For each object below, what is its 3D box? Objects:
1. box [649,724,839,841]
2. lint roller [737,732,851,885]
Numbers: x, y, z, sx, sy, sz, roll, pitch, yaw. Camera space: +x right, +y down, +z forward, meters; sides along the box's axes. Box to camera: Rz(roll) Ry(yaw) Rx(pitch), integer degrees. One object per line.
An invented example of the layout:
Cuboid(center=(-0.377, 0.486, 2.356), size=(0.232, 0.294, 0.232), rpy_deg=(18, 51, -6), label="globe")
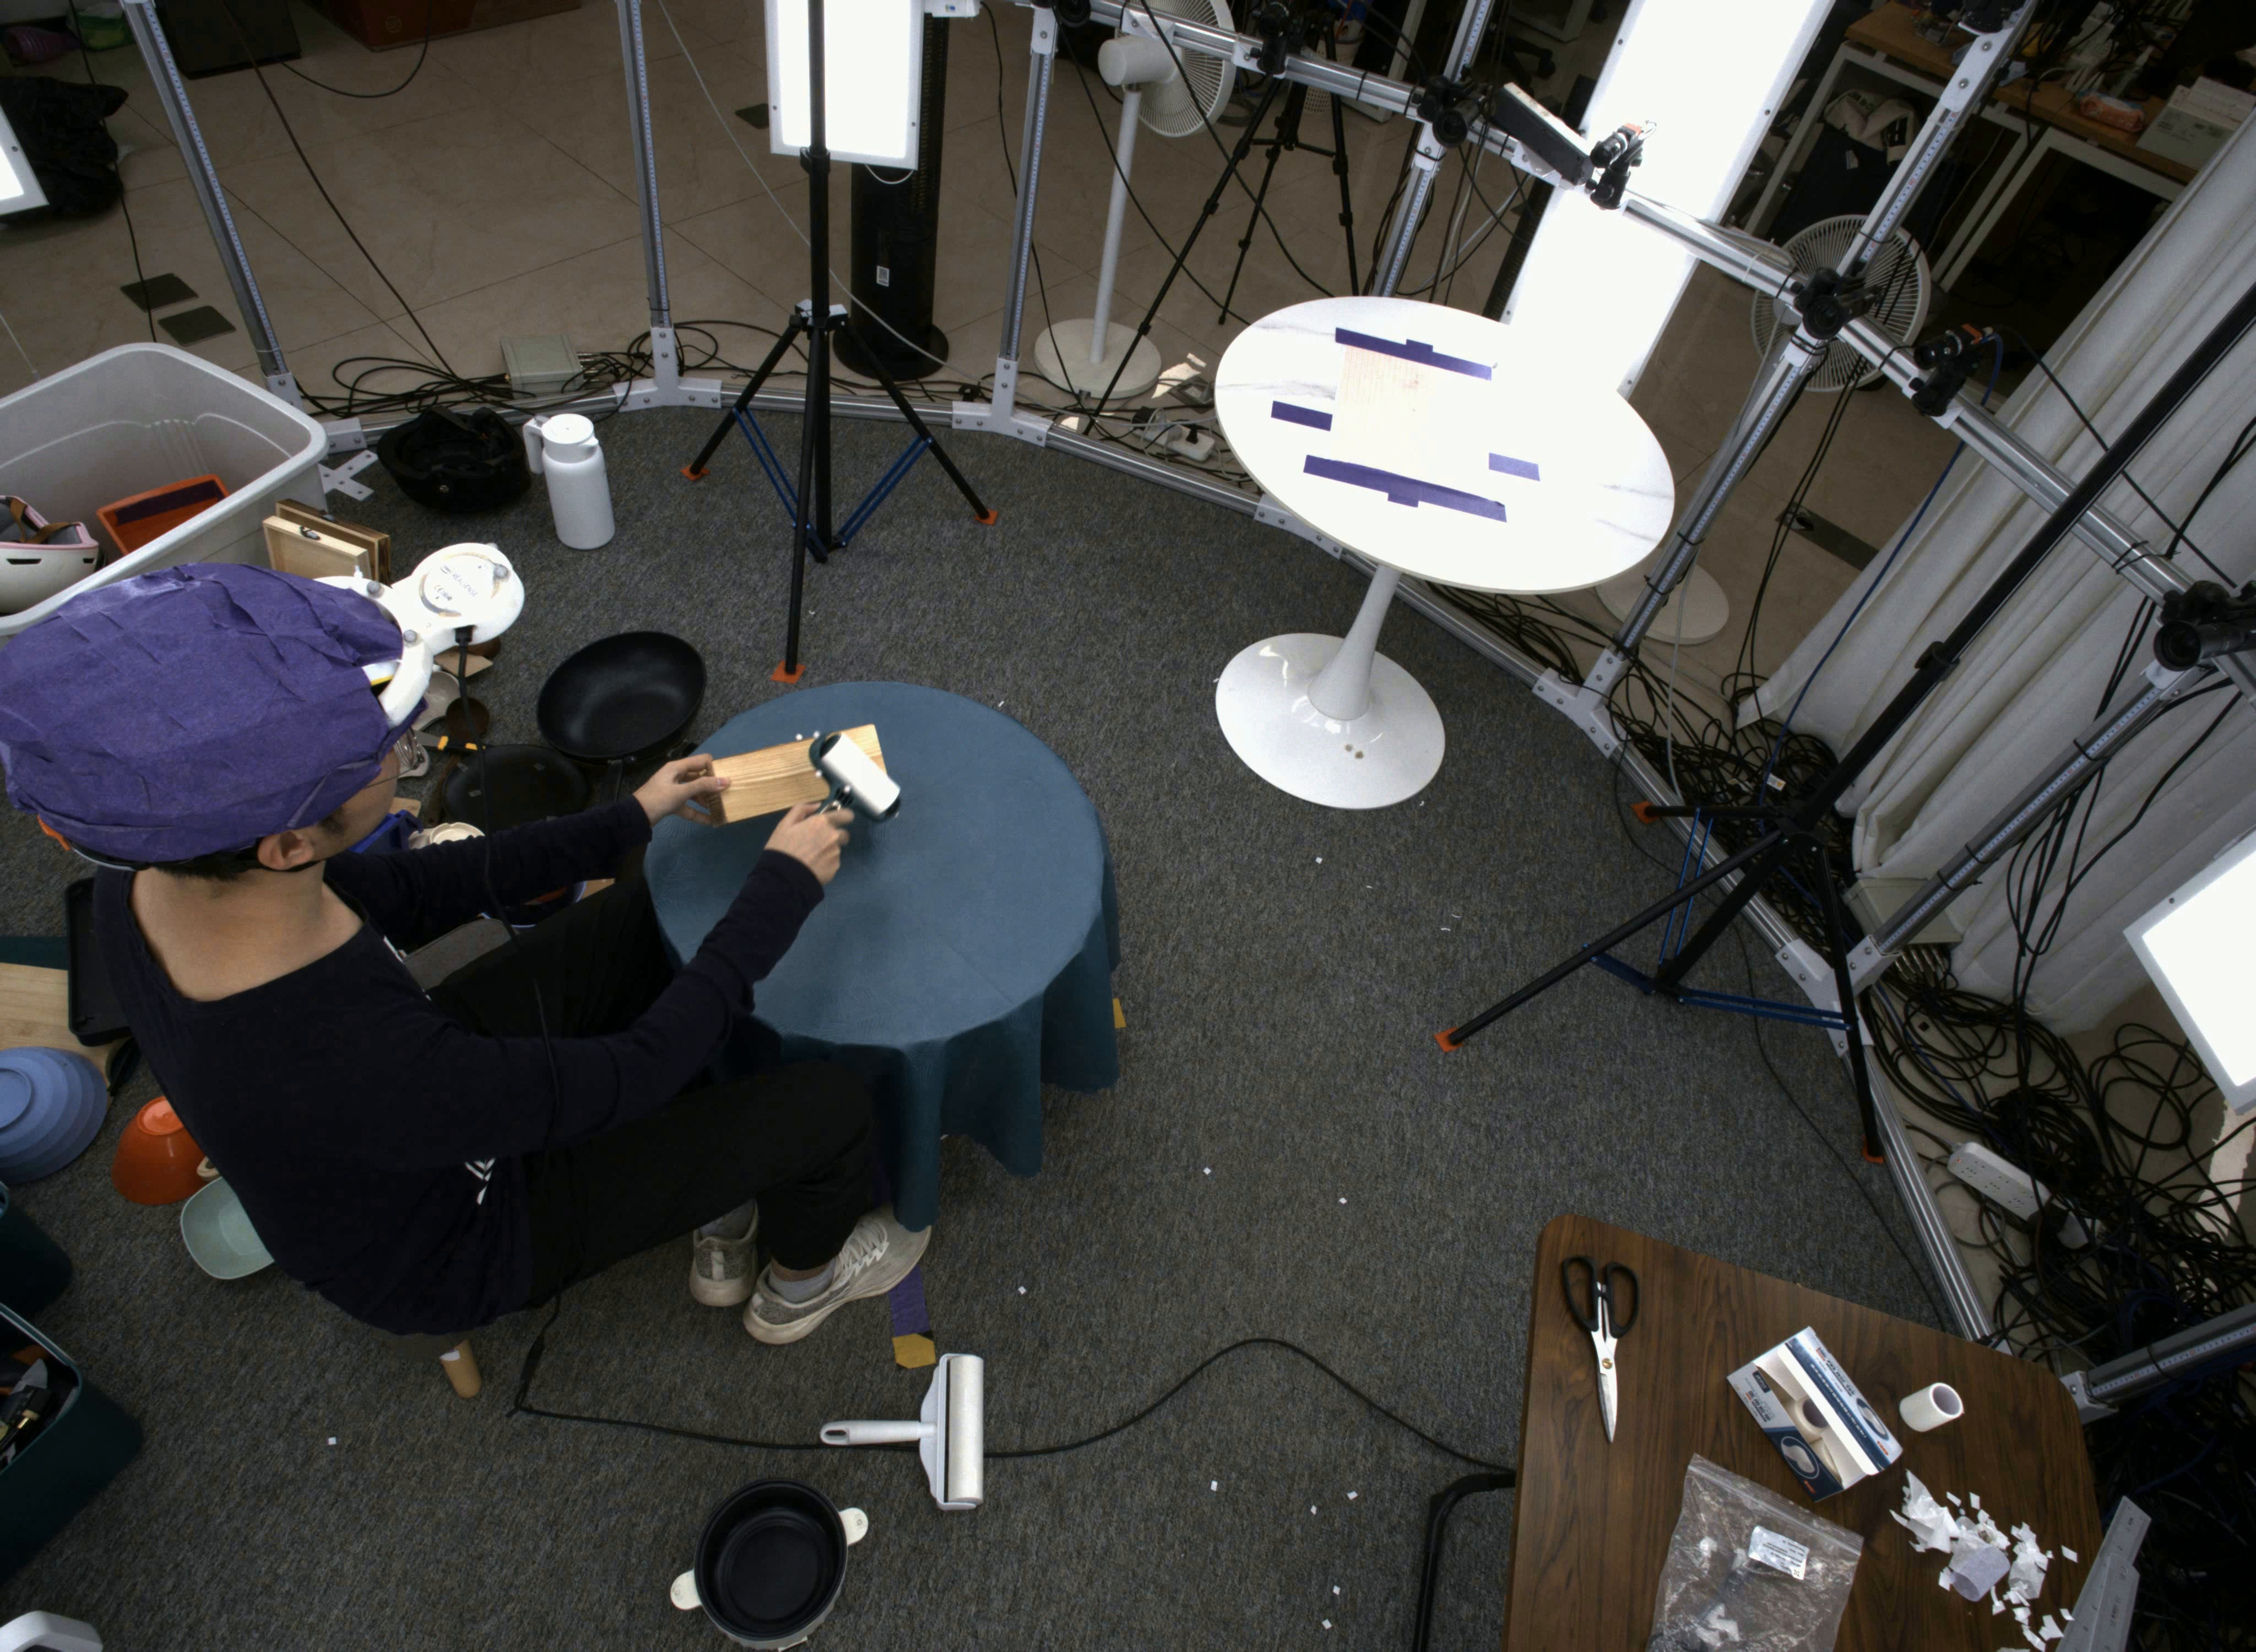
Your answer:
Cuboid(center=(-0.491, -0.056, 1.647), size=(0.213, 0.105, 0.081), rpy_deg=(-20, 95, -30), label="box")
Cuboid(center=(-0.405, -0.007, 1.517), size=(0.138, 0.047, 0.178), rpy_deg=(45, 40, -27), label="lint roller")
